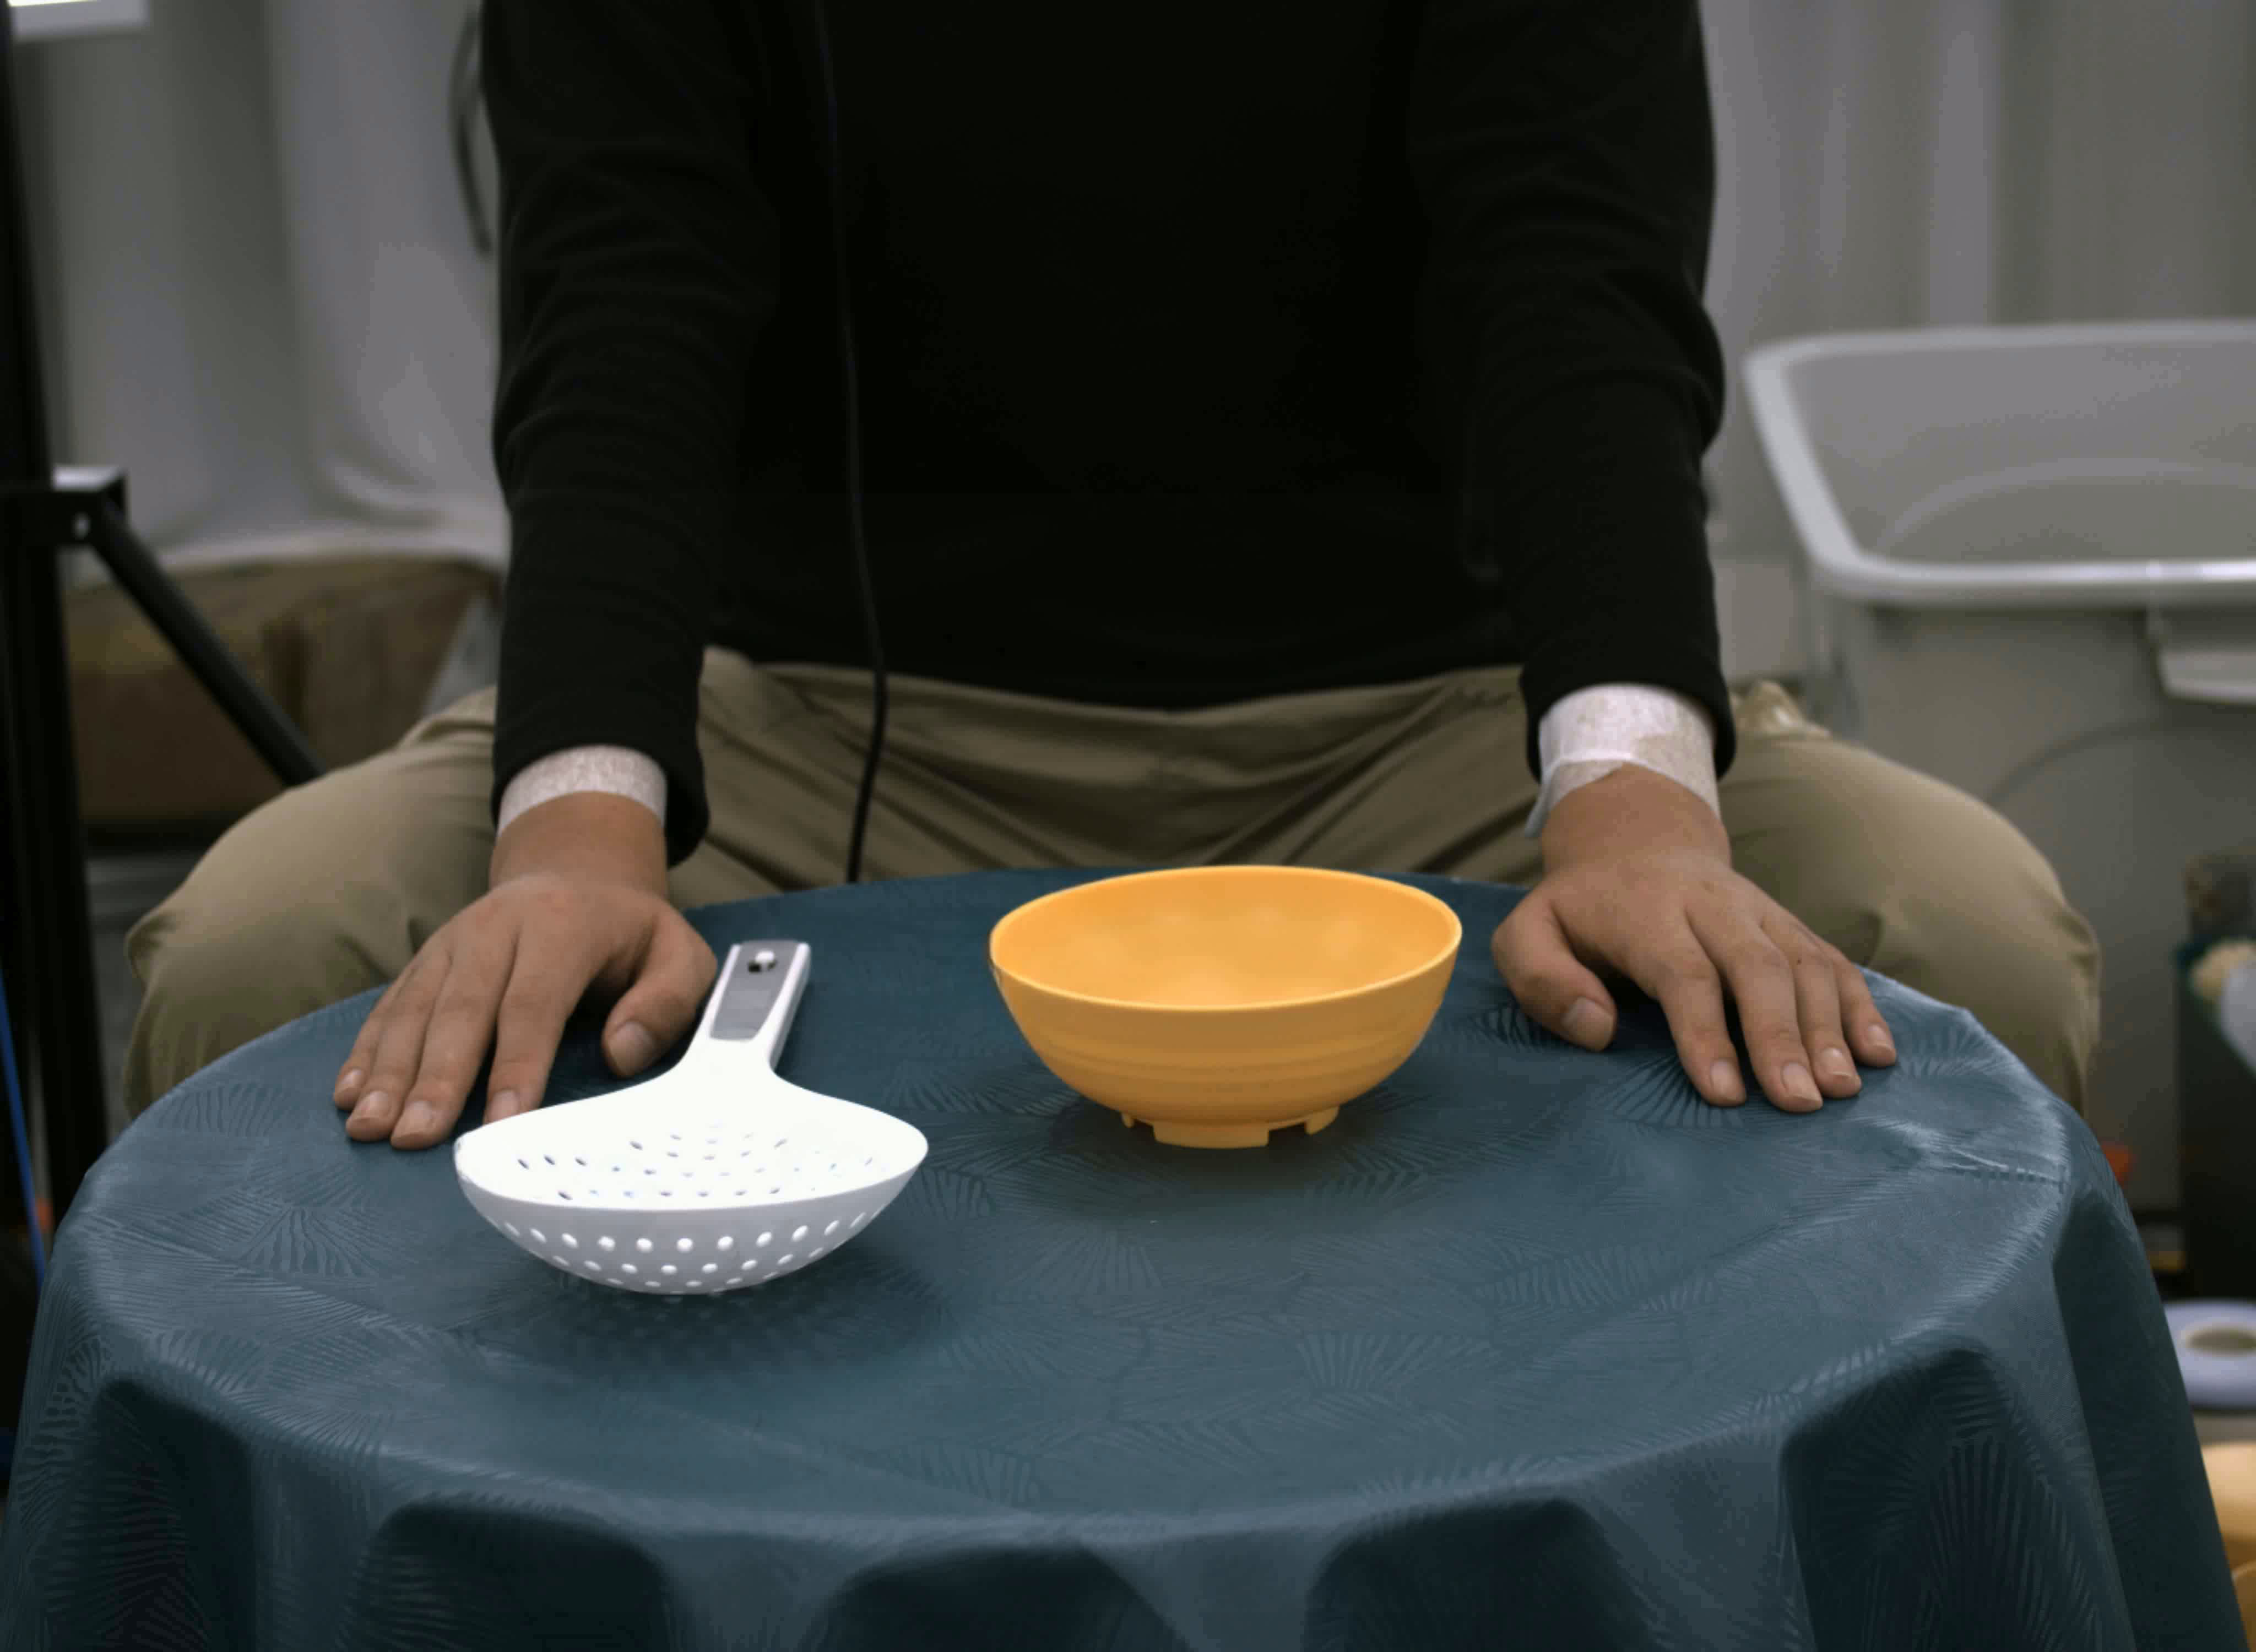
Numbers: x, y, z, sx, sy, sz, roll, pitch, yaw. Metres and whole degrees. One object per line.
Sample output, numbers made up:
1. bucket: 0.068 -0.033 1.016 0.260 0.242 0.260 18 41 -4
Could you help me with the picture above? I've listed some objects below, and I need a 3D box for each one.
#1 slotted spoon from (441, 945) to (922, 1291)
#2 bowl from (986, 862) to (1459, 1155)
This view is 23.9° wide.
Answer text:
1. slotted spoon: -0.123 0.078 1.600 0.135 0.046 0.350 -1 15 1
2. bowl: 0.029 0.061 1.616 0.144 0.060 0.146 -2 17 -1
